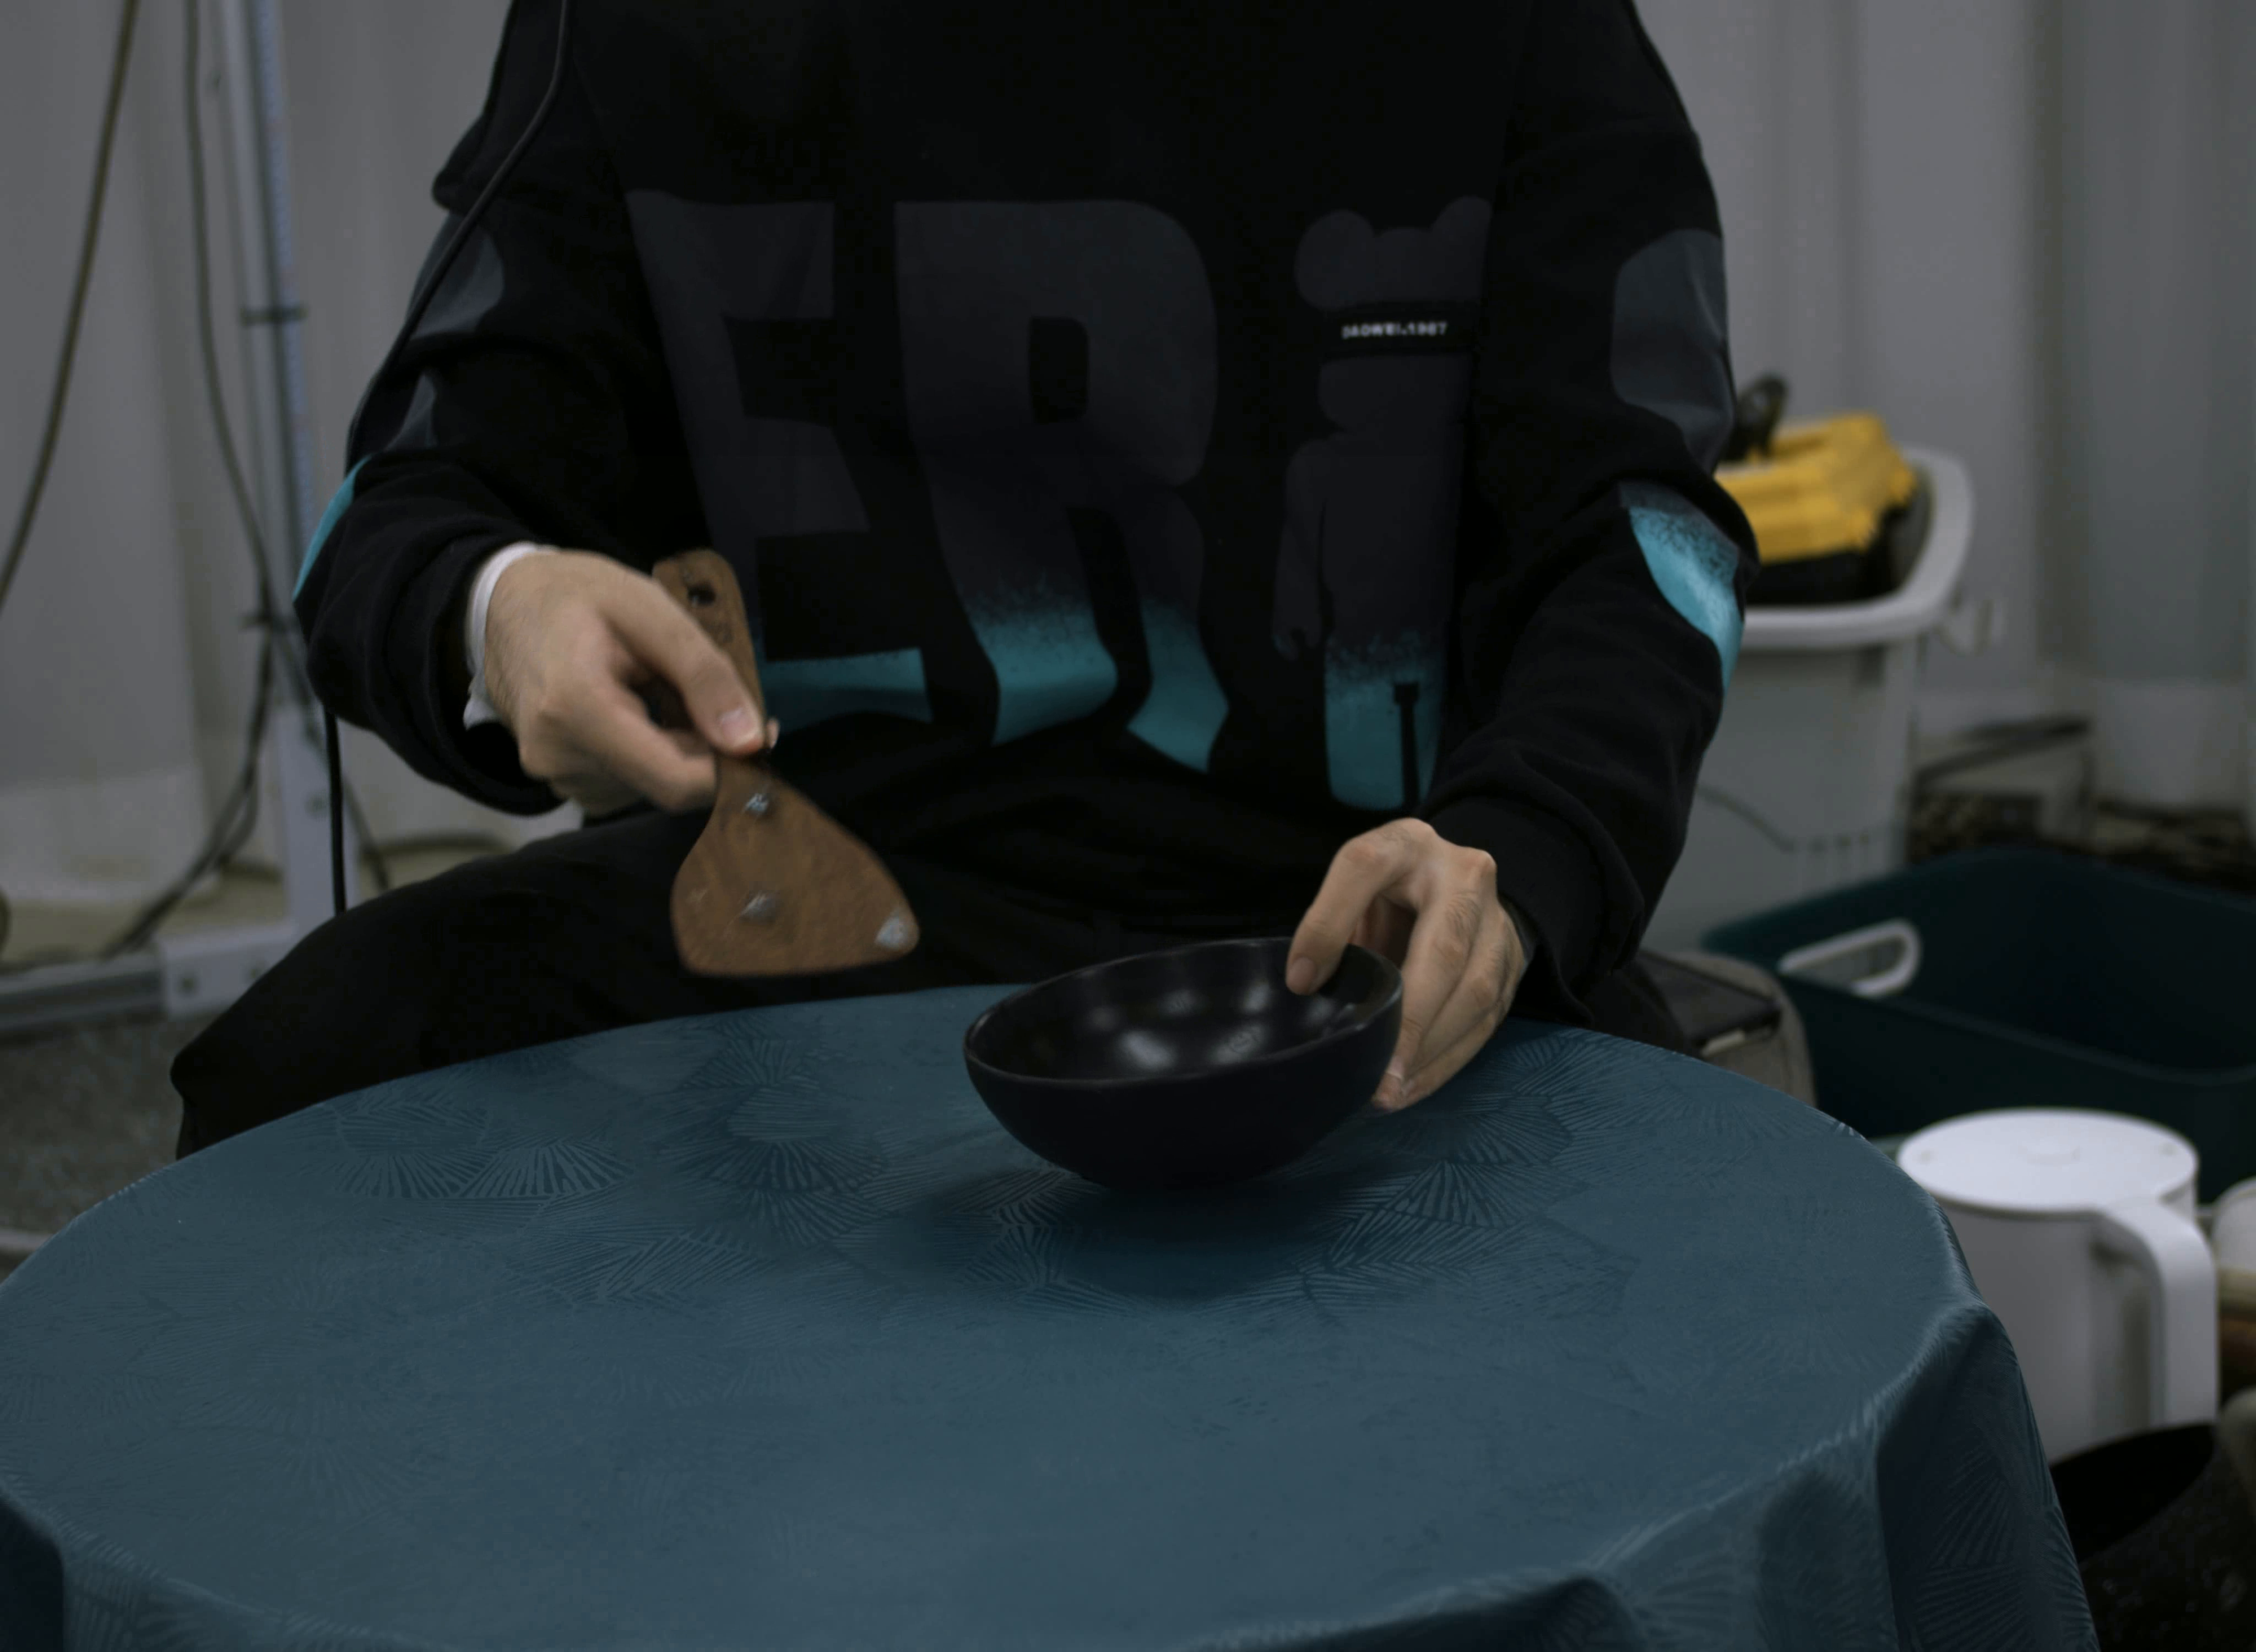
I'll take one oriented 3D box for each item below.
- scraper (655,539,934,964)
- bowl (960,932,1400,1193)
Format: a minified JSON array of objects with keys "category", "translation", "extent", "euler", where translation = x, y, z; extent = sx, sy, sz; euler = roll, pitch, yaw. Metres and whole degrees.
[{"category":"scraper","translation":[-0.119,-0.025,1.745],"extent":[0.075,0.011,0.214],"euler":[-5,41,-15]},{"category":"bowl","translation":[0.020,0.078,1.696],"extent":[0.139,0.049,0.141],"euler":[-11,14,2]}]
